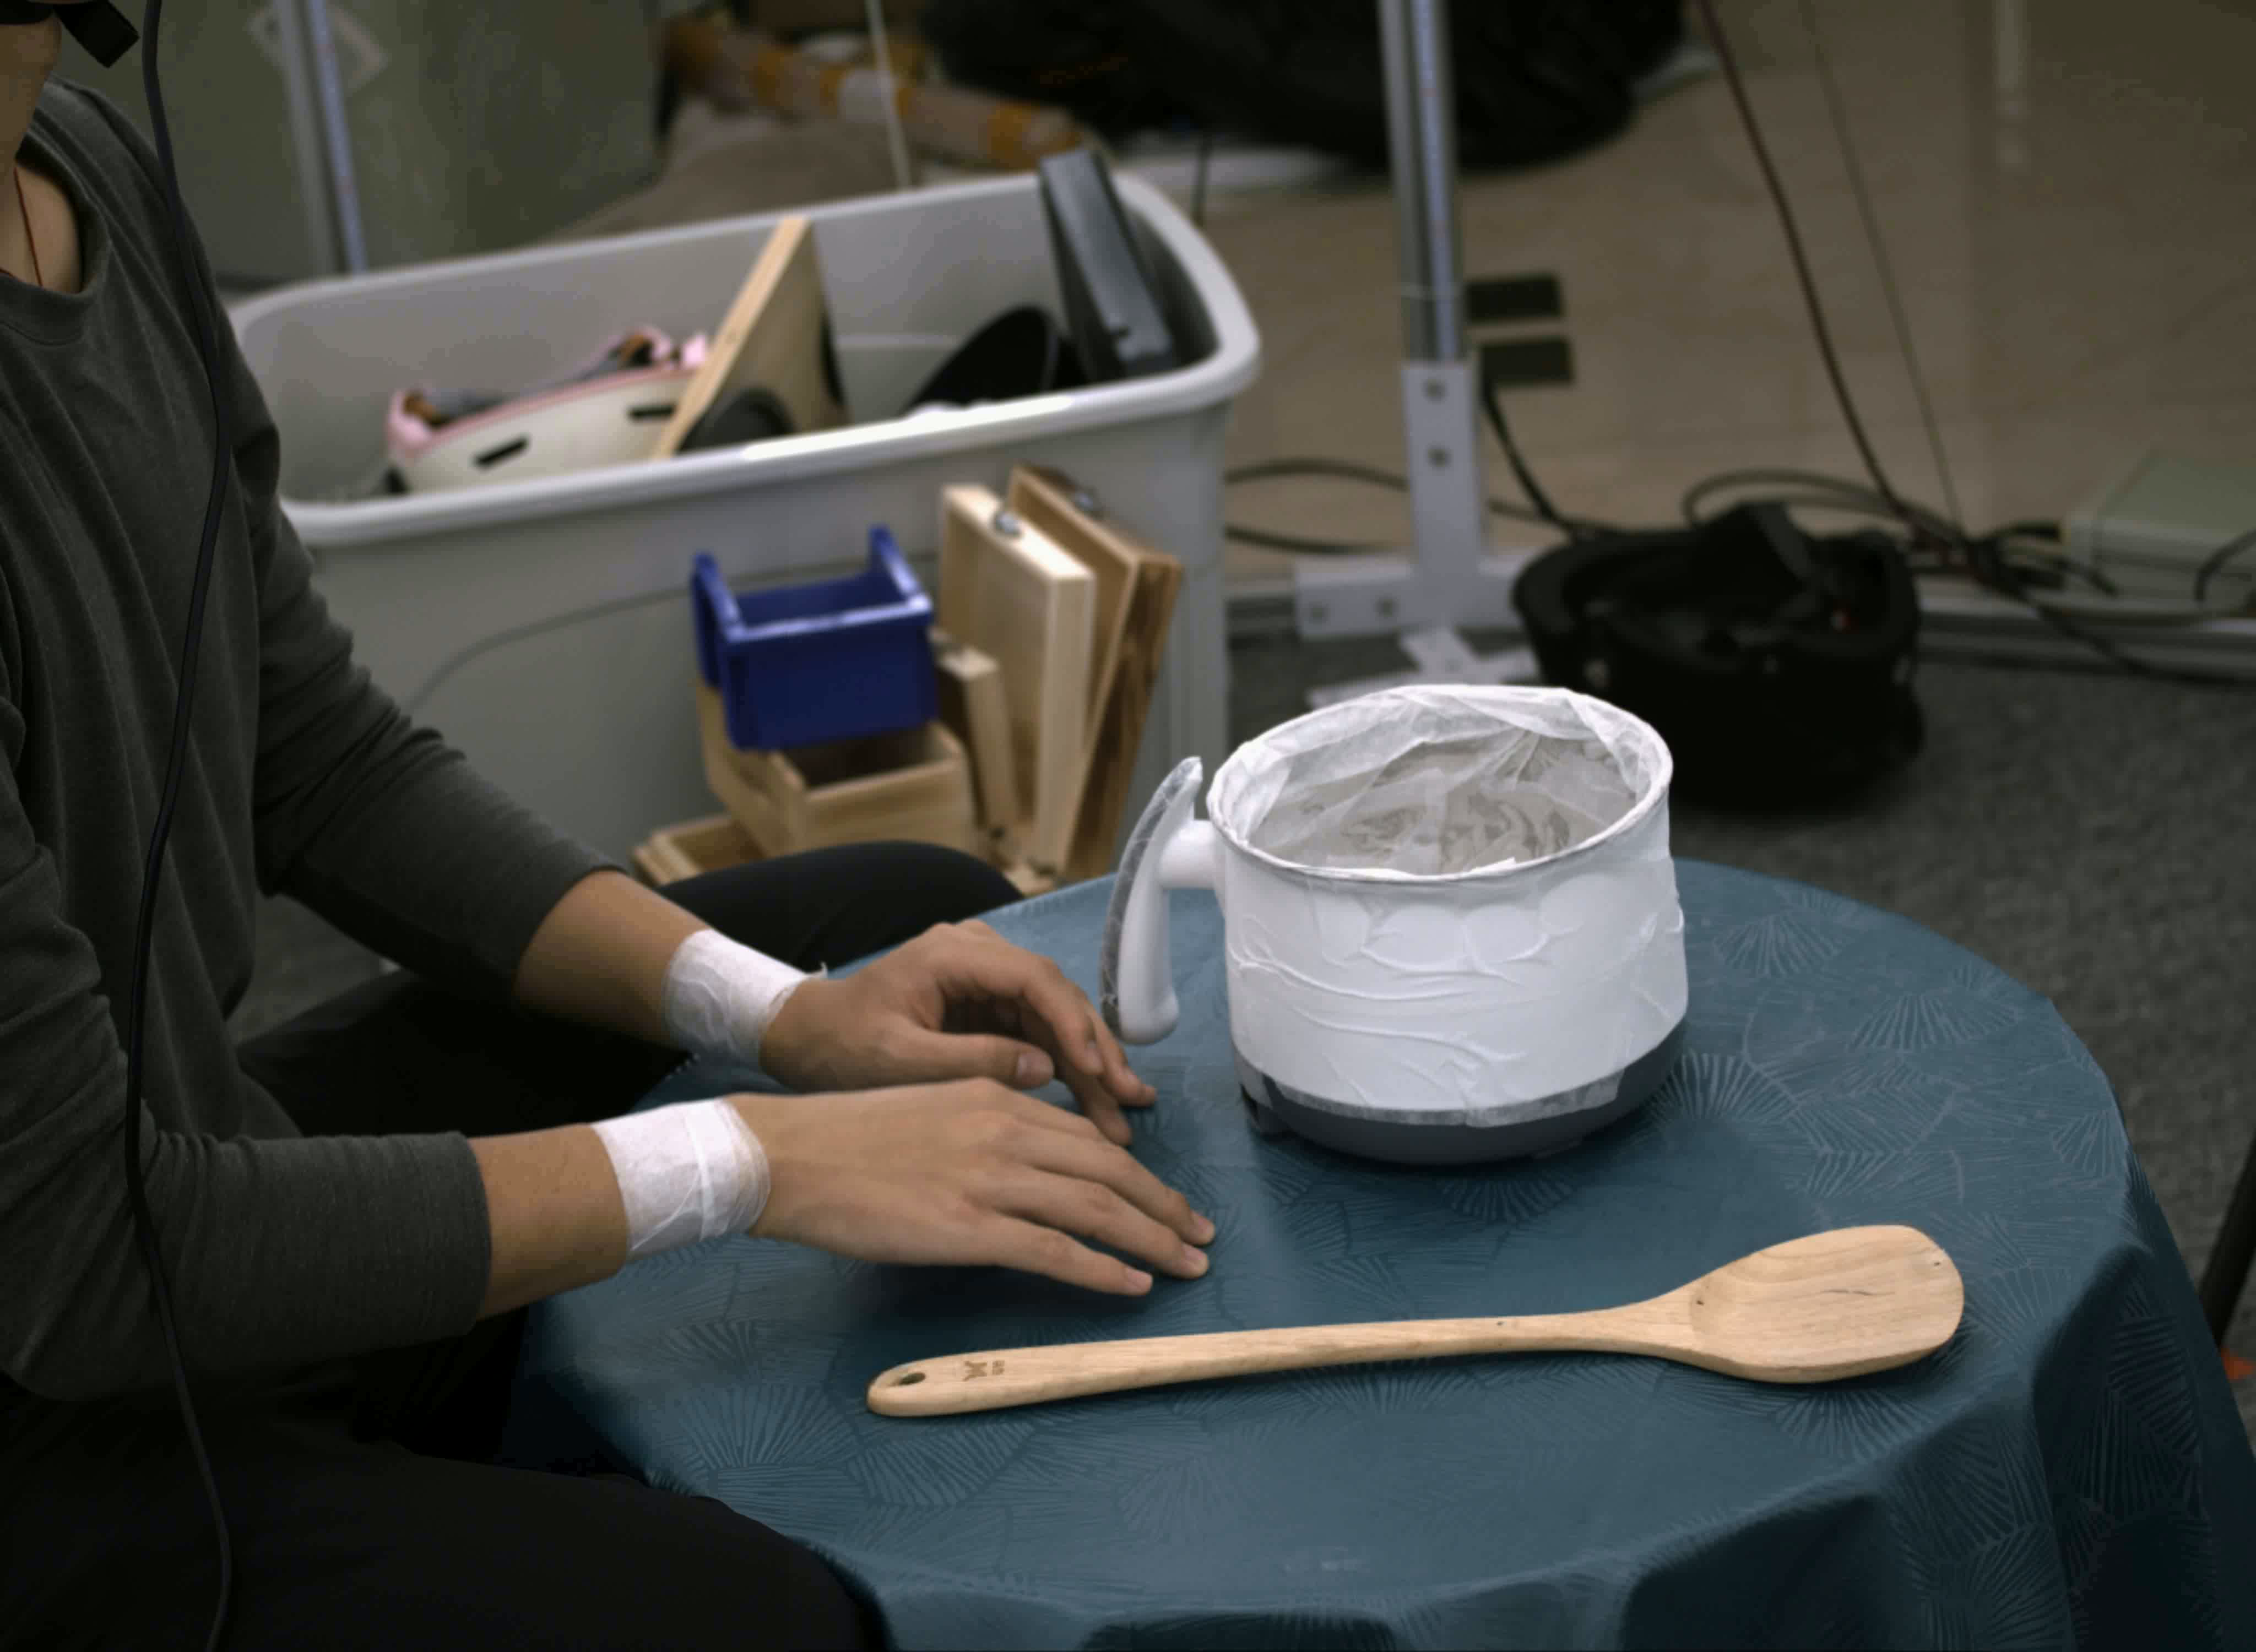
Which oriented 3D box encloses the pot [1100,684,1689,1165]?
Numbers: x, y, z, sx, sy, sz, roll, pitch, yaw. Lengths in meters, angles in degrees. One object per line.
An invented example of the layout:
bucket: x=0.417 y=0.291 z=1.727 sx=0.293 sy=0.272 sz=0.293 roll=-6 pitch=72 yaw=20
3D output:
pot: x=0.098 y=0.038 z=2.179 sx=0.233 sy=0.139 sz=0.176 roll=2 pitch=26 yaw=17

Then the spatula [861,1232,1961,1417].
spatula: x=0.098 y=0.185 z=2.007 sx=0.390 sy=0.019 sz=0.094 roll=-5 pitch=23 yaw=3
